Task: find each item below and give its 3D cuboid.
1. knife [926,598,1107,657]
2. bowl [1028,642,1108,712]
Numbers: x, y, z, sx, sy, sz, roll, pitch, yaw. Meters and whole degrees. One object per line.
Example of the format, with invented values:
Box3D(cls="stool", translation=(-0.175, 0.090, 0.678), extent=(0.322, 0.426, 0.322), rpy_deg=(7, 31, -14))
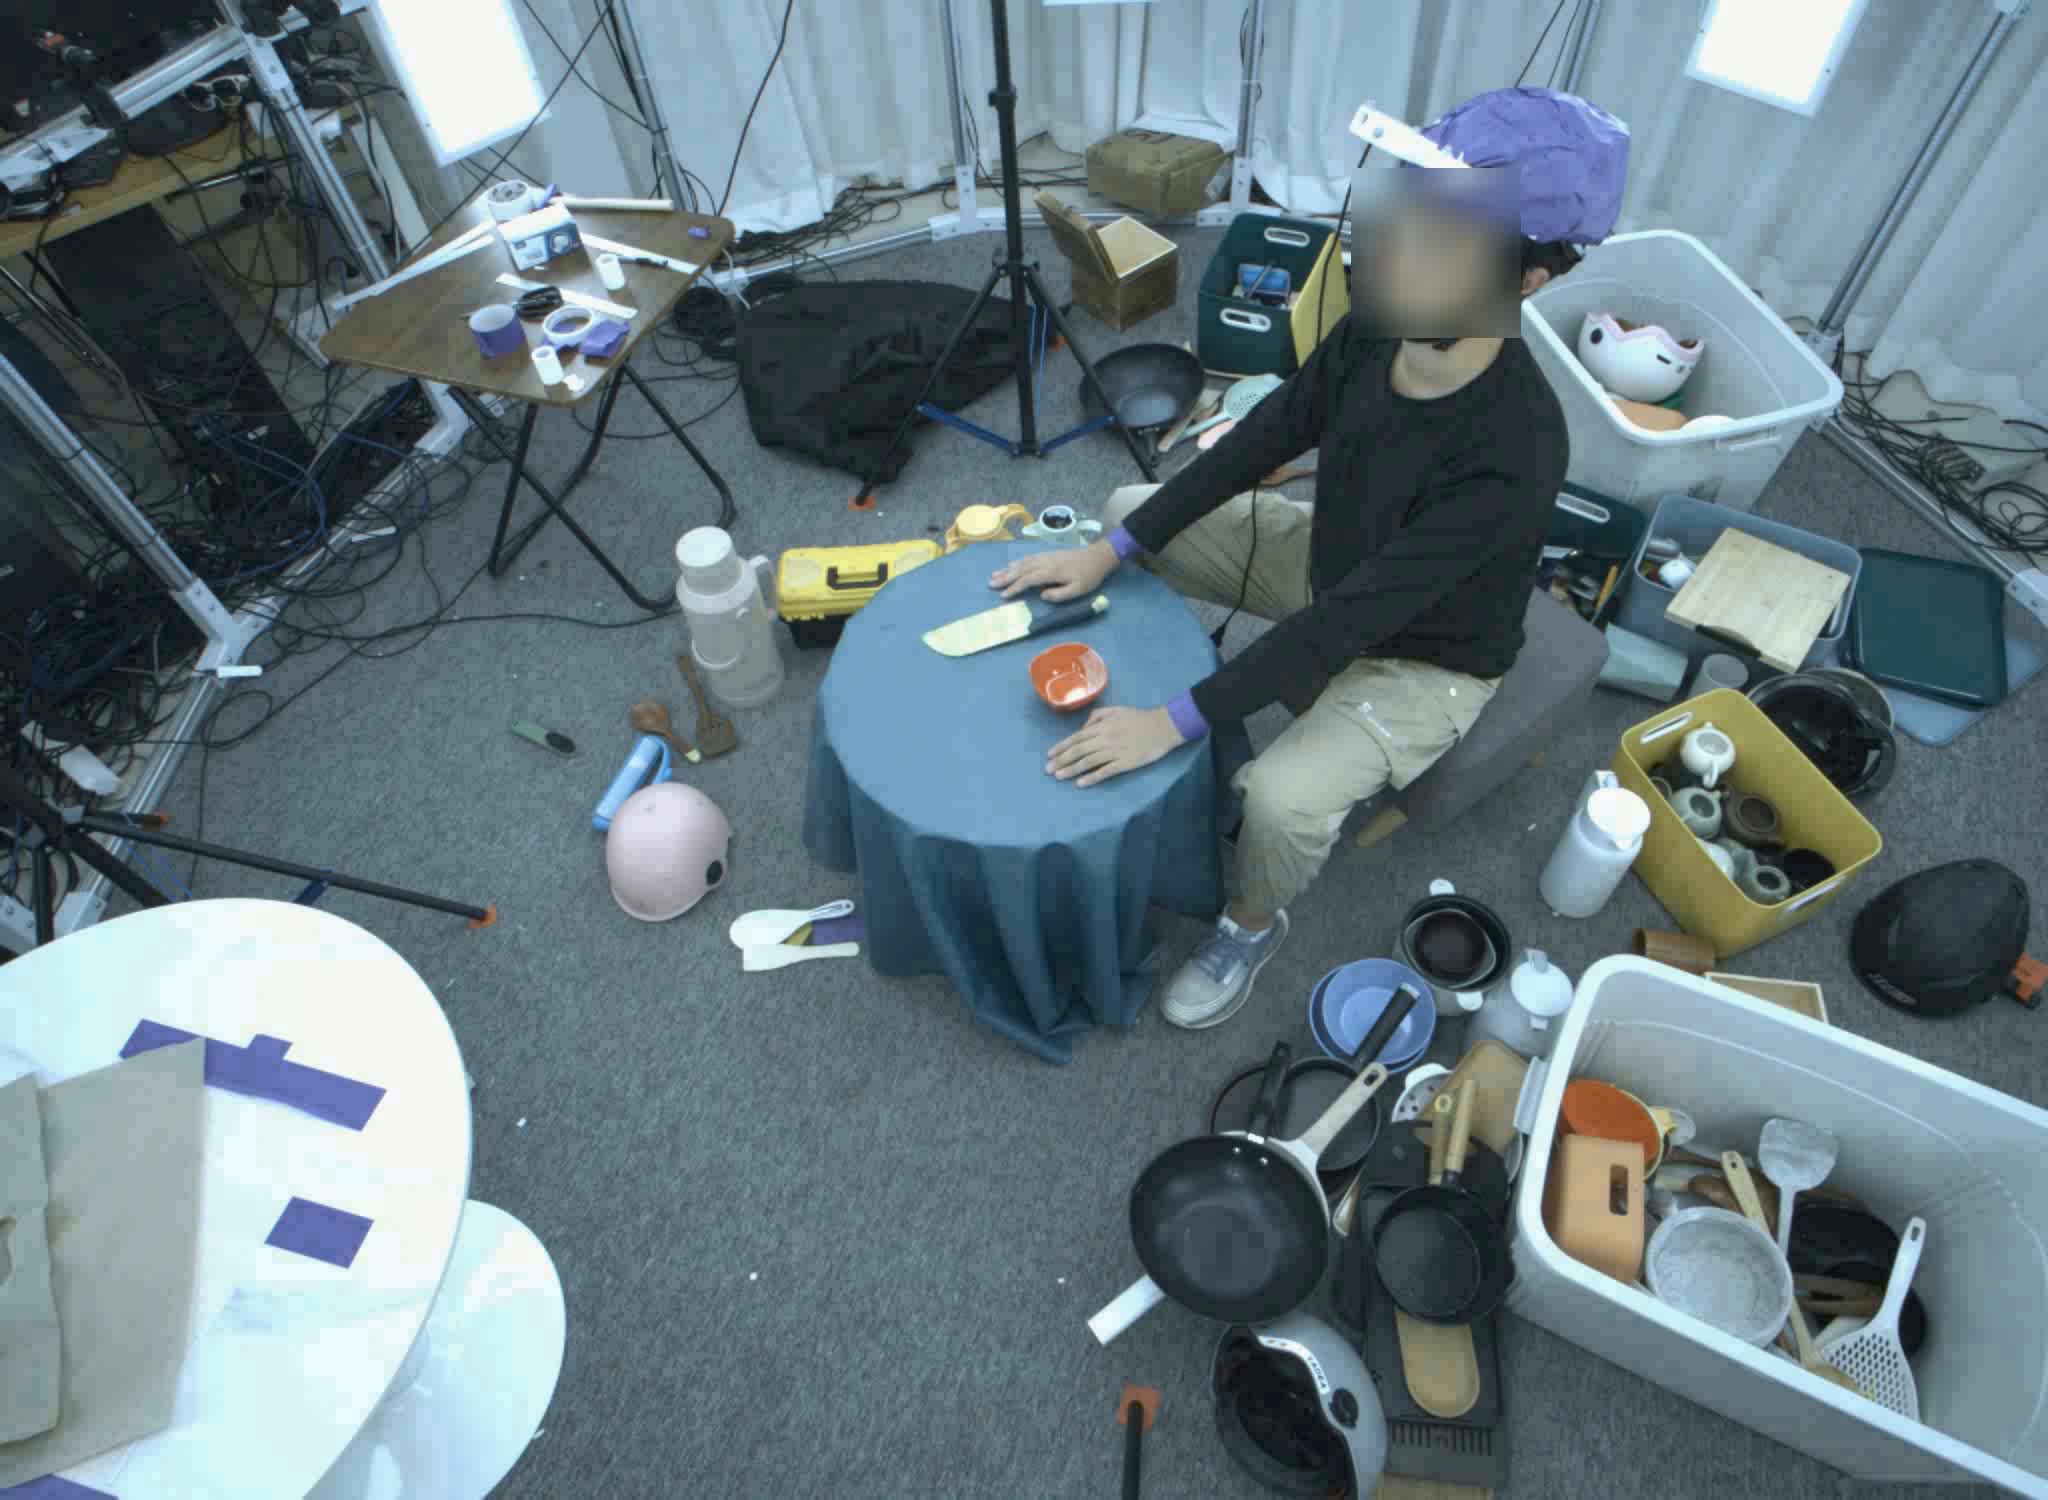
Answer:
Box3D(cls="knife", translation=(-0.013, -0.200, 1.918), extent=(0.291, 0.027, 0.080), rpy_deg=(-15, 57, -7))
Box3D(cls="bowl", translation=(0.065, -0.100, 1.820), extent=(0.119, 0.052, 0.117), rpy_deg=(-1, 53, 3))
